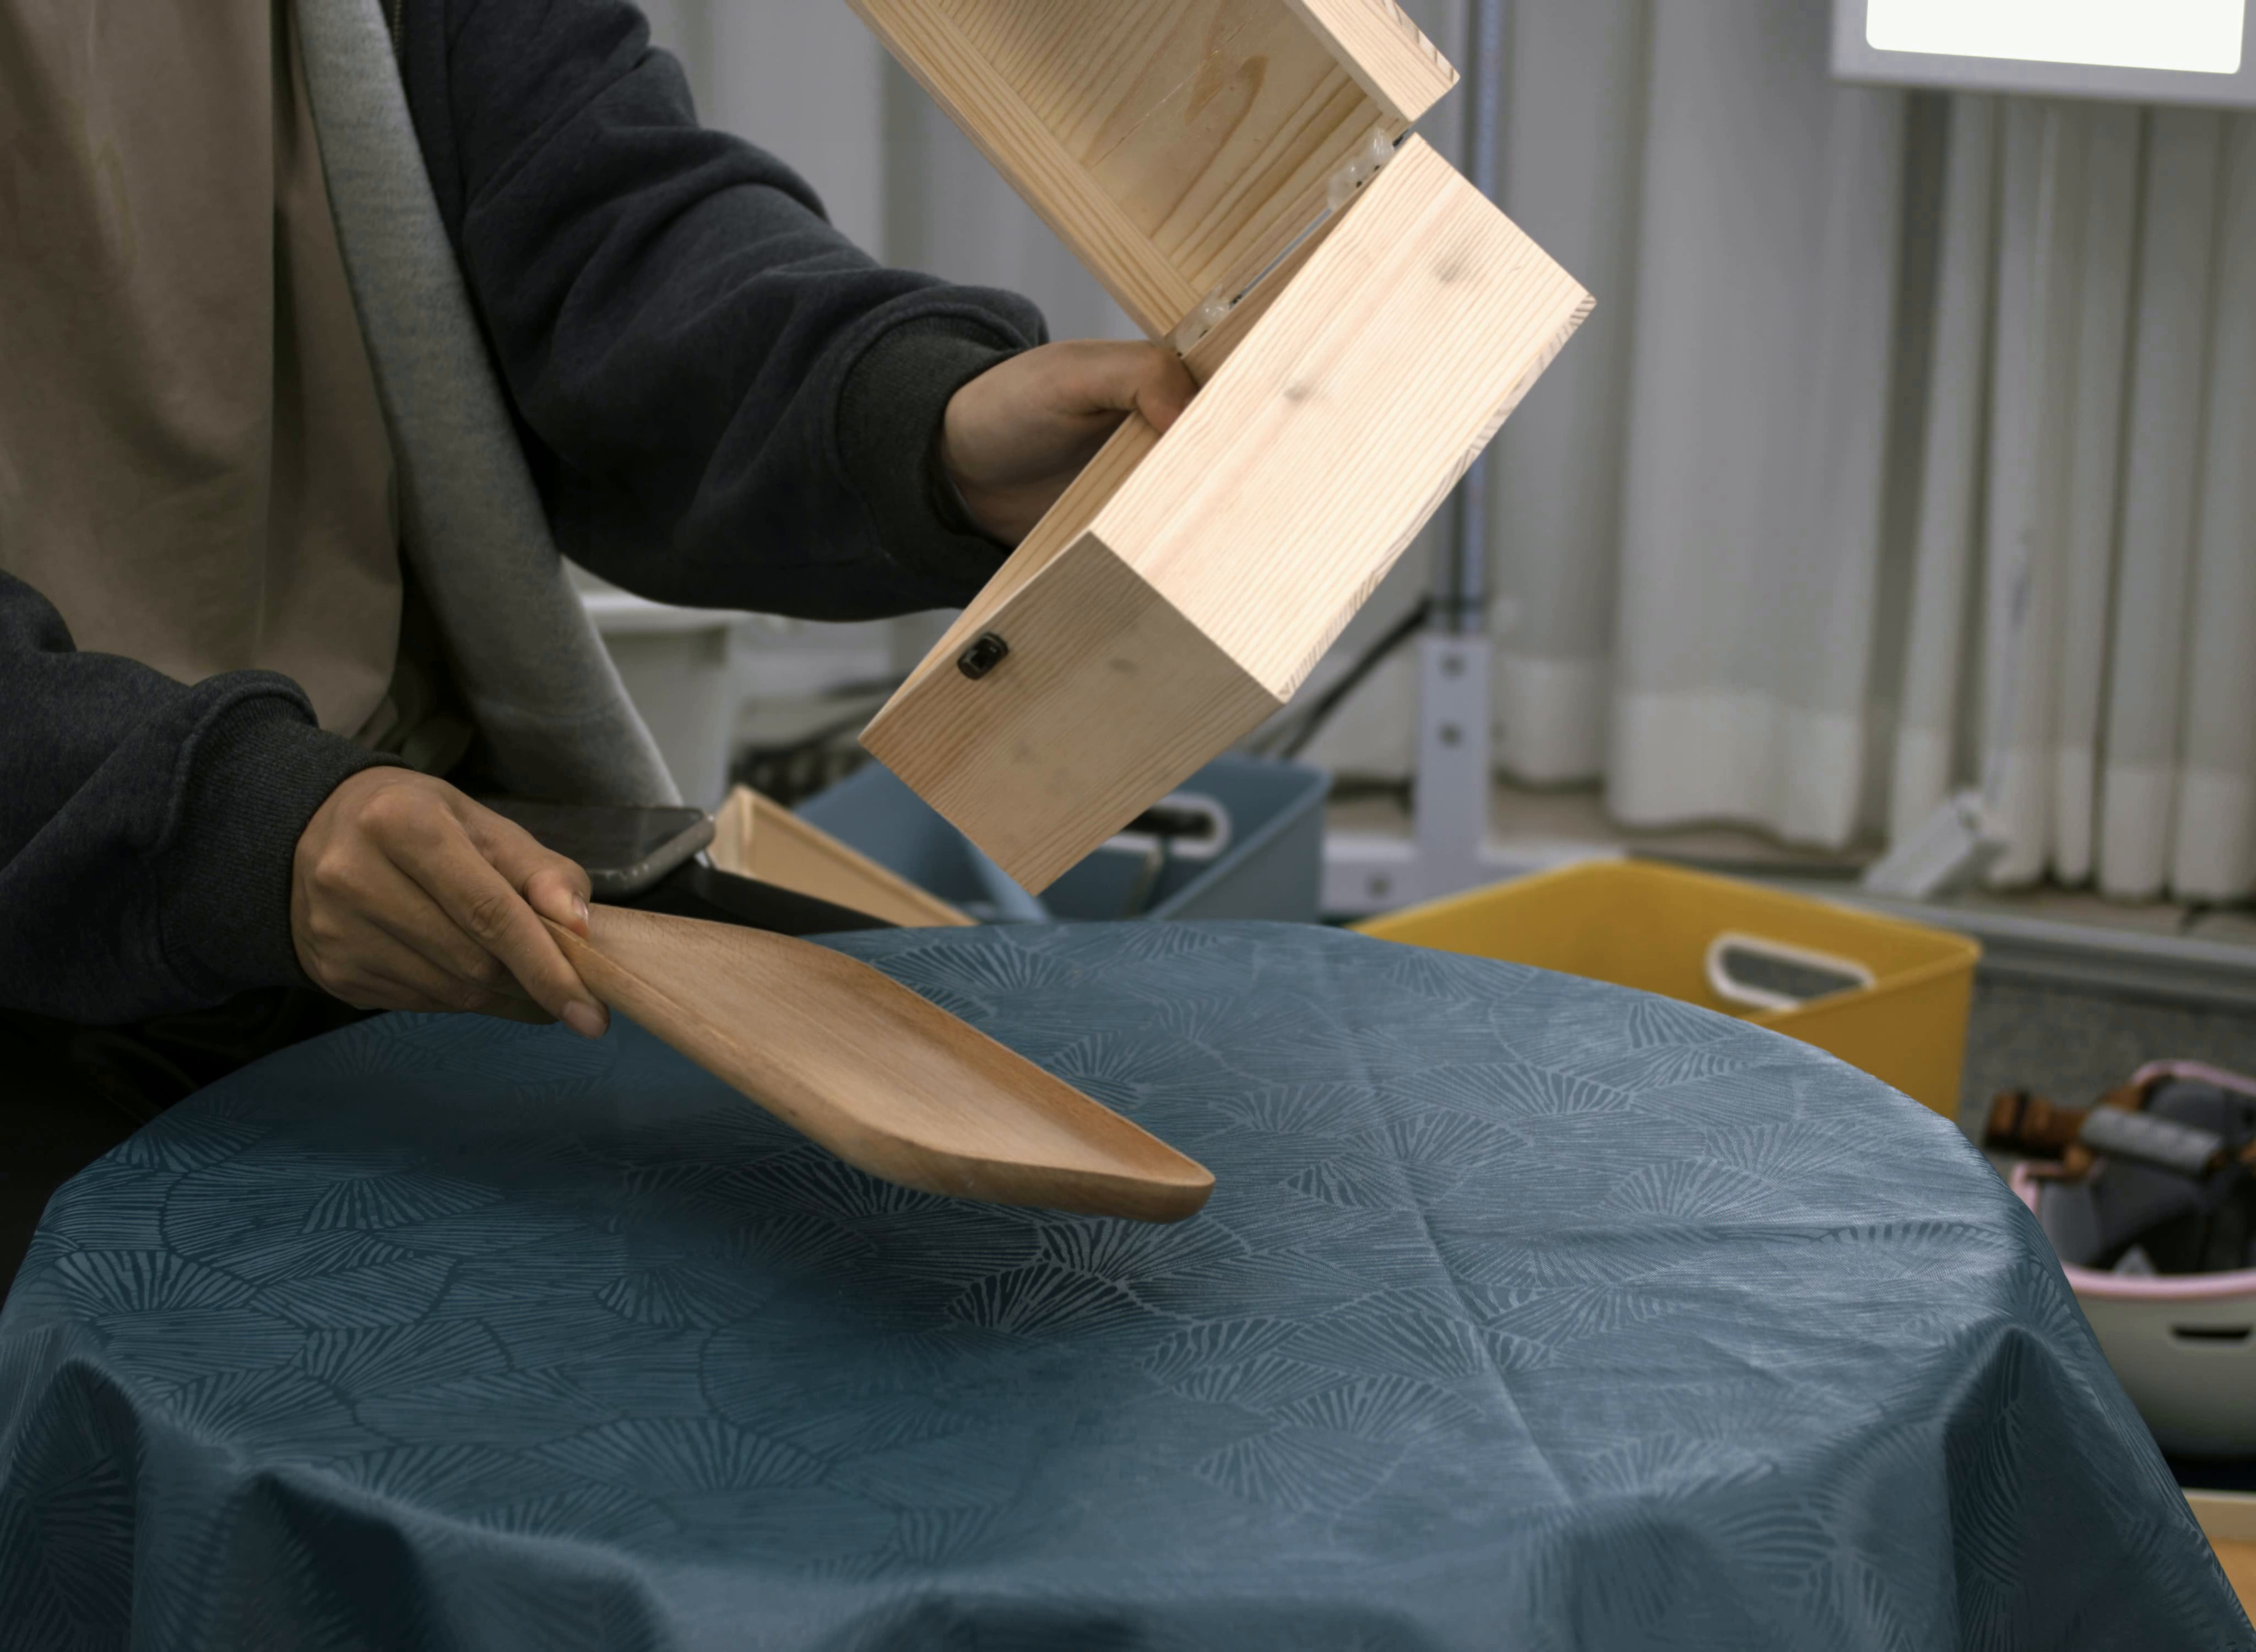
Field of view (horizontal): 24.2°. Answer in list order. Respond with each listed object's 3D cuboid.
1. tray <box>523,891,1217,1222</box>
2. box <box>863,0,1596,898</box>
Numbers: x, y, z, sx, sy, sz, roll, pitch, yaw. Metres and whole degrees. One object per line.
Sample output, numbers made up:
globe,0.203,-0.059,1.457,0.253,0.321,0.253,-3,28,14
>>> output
tray,-0.082,0.068,1.582,0.132,0.023,0.247,14,8,-36
box,-0.016,-0.172,1.592,0.265,0.253,0.181,-51,5,-31
